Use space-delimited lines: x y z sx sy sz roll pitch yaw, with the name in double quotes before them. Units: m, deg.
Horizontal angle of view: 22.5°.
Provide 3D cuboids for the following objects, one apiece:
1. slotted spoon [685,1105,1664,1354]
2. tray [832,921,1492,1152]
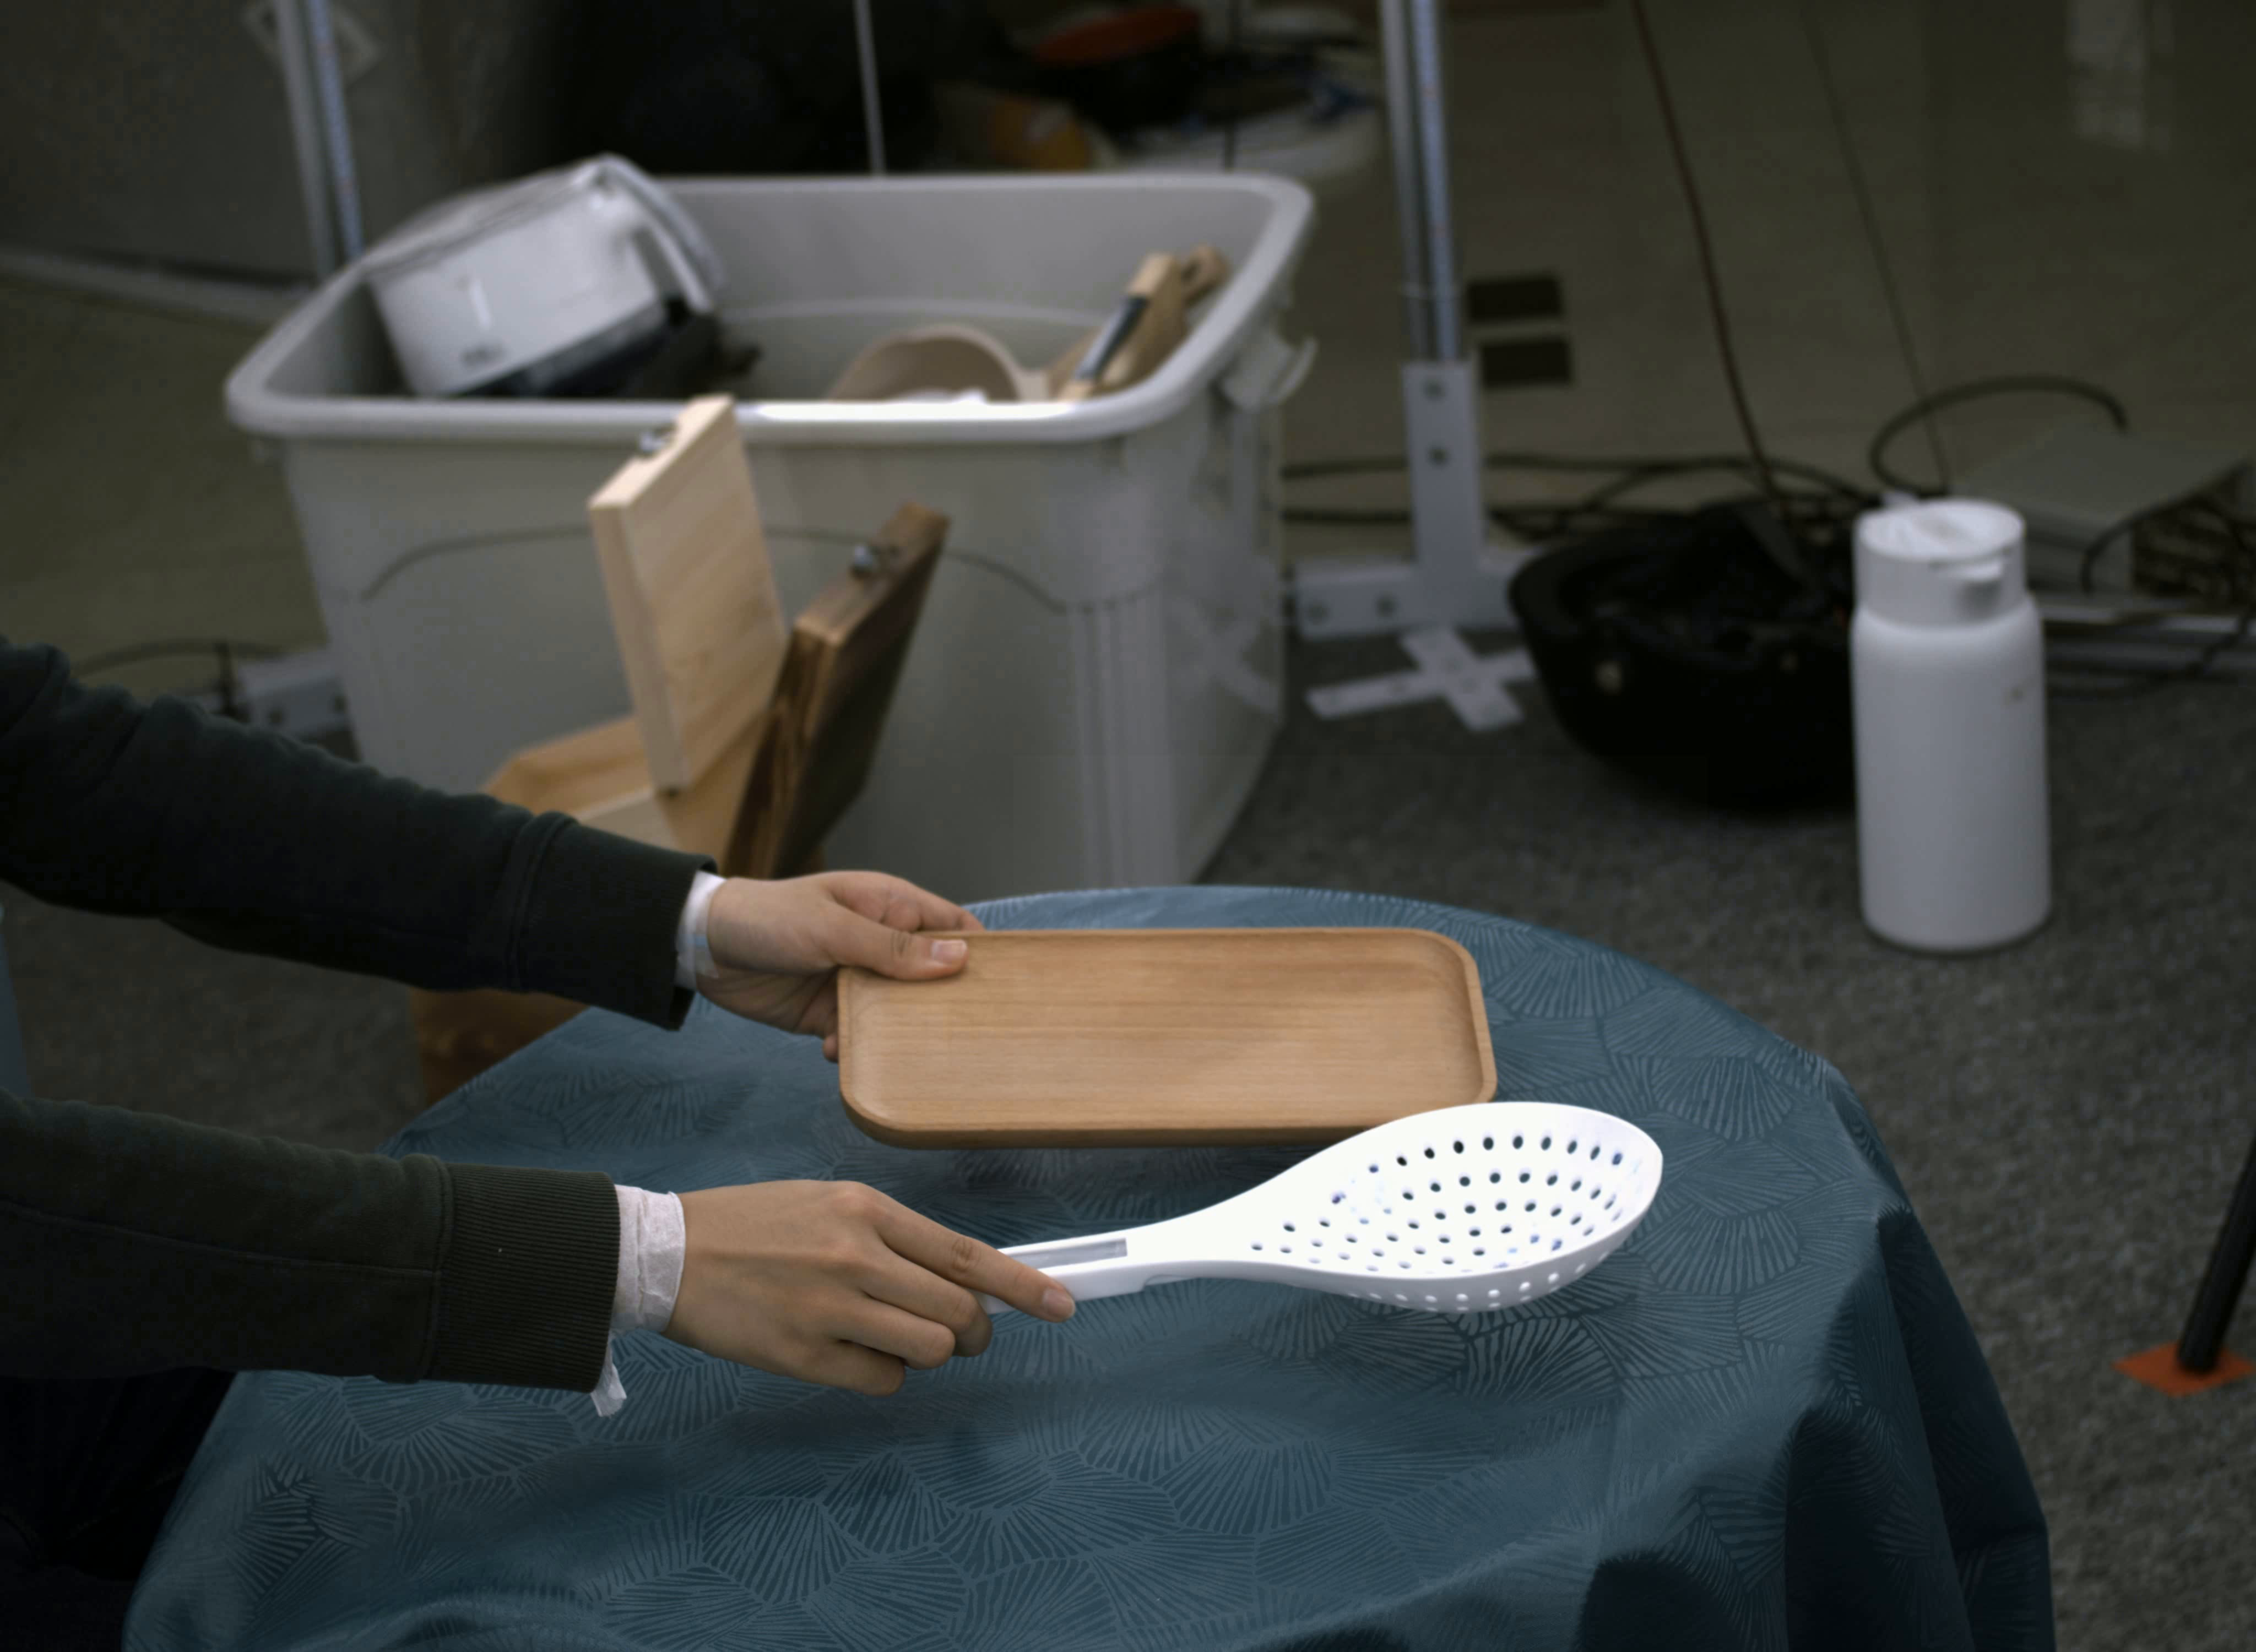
"slotted spoon" 0.016 0.151 2.013 0.349 0.046 0.134 -4 21 0
"tray" 0.012 0.081 2.179 0.250 0.023 0.128 -1 34 -3
